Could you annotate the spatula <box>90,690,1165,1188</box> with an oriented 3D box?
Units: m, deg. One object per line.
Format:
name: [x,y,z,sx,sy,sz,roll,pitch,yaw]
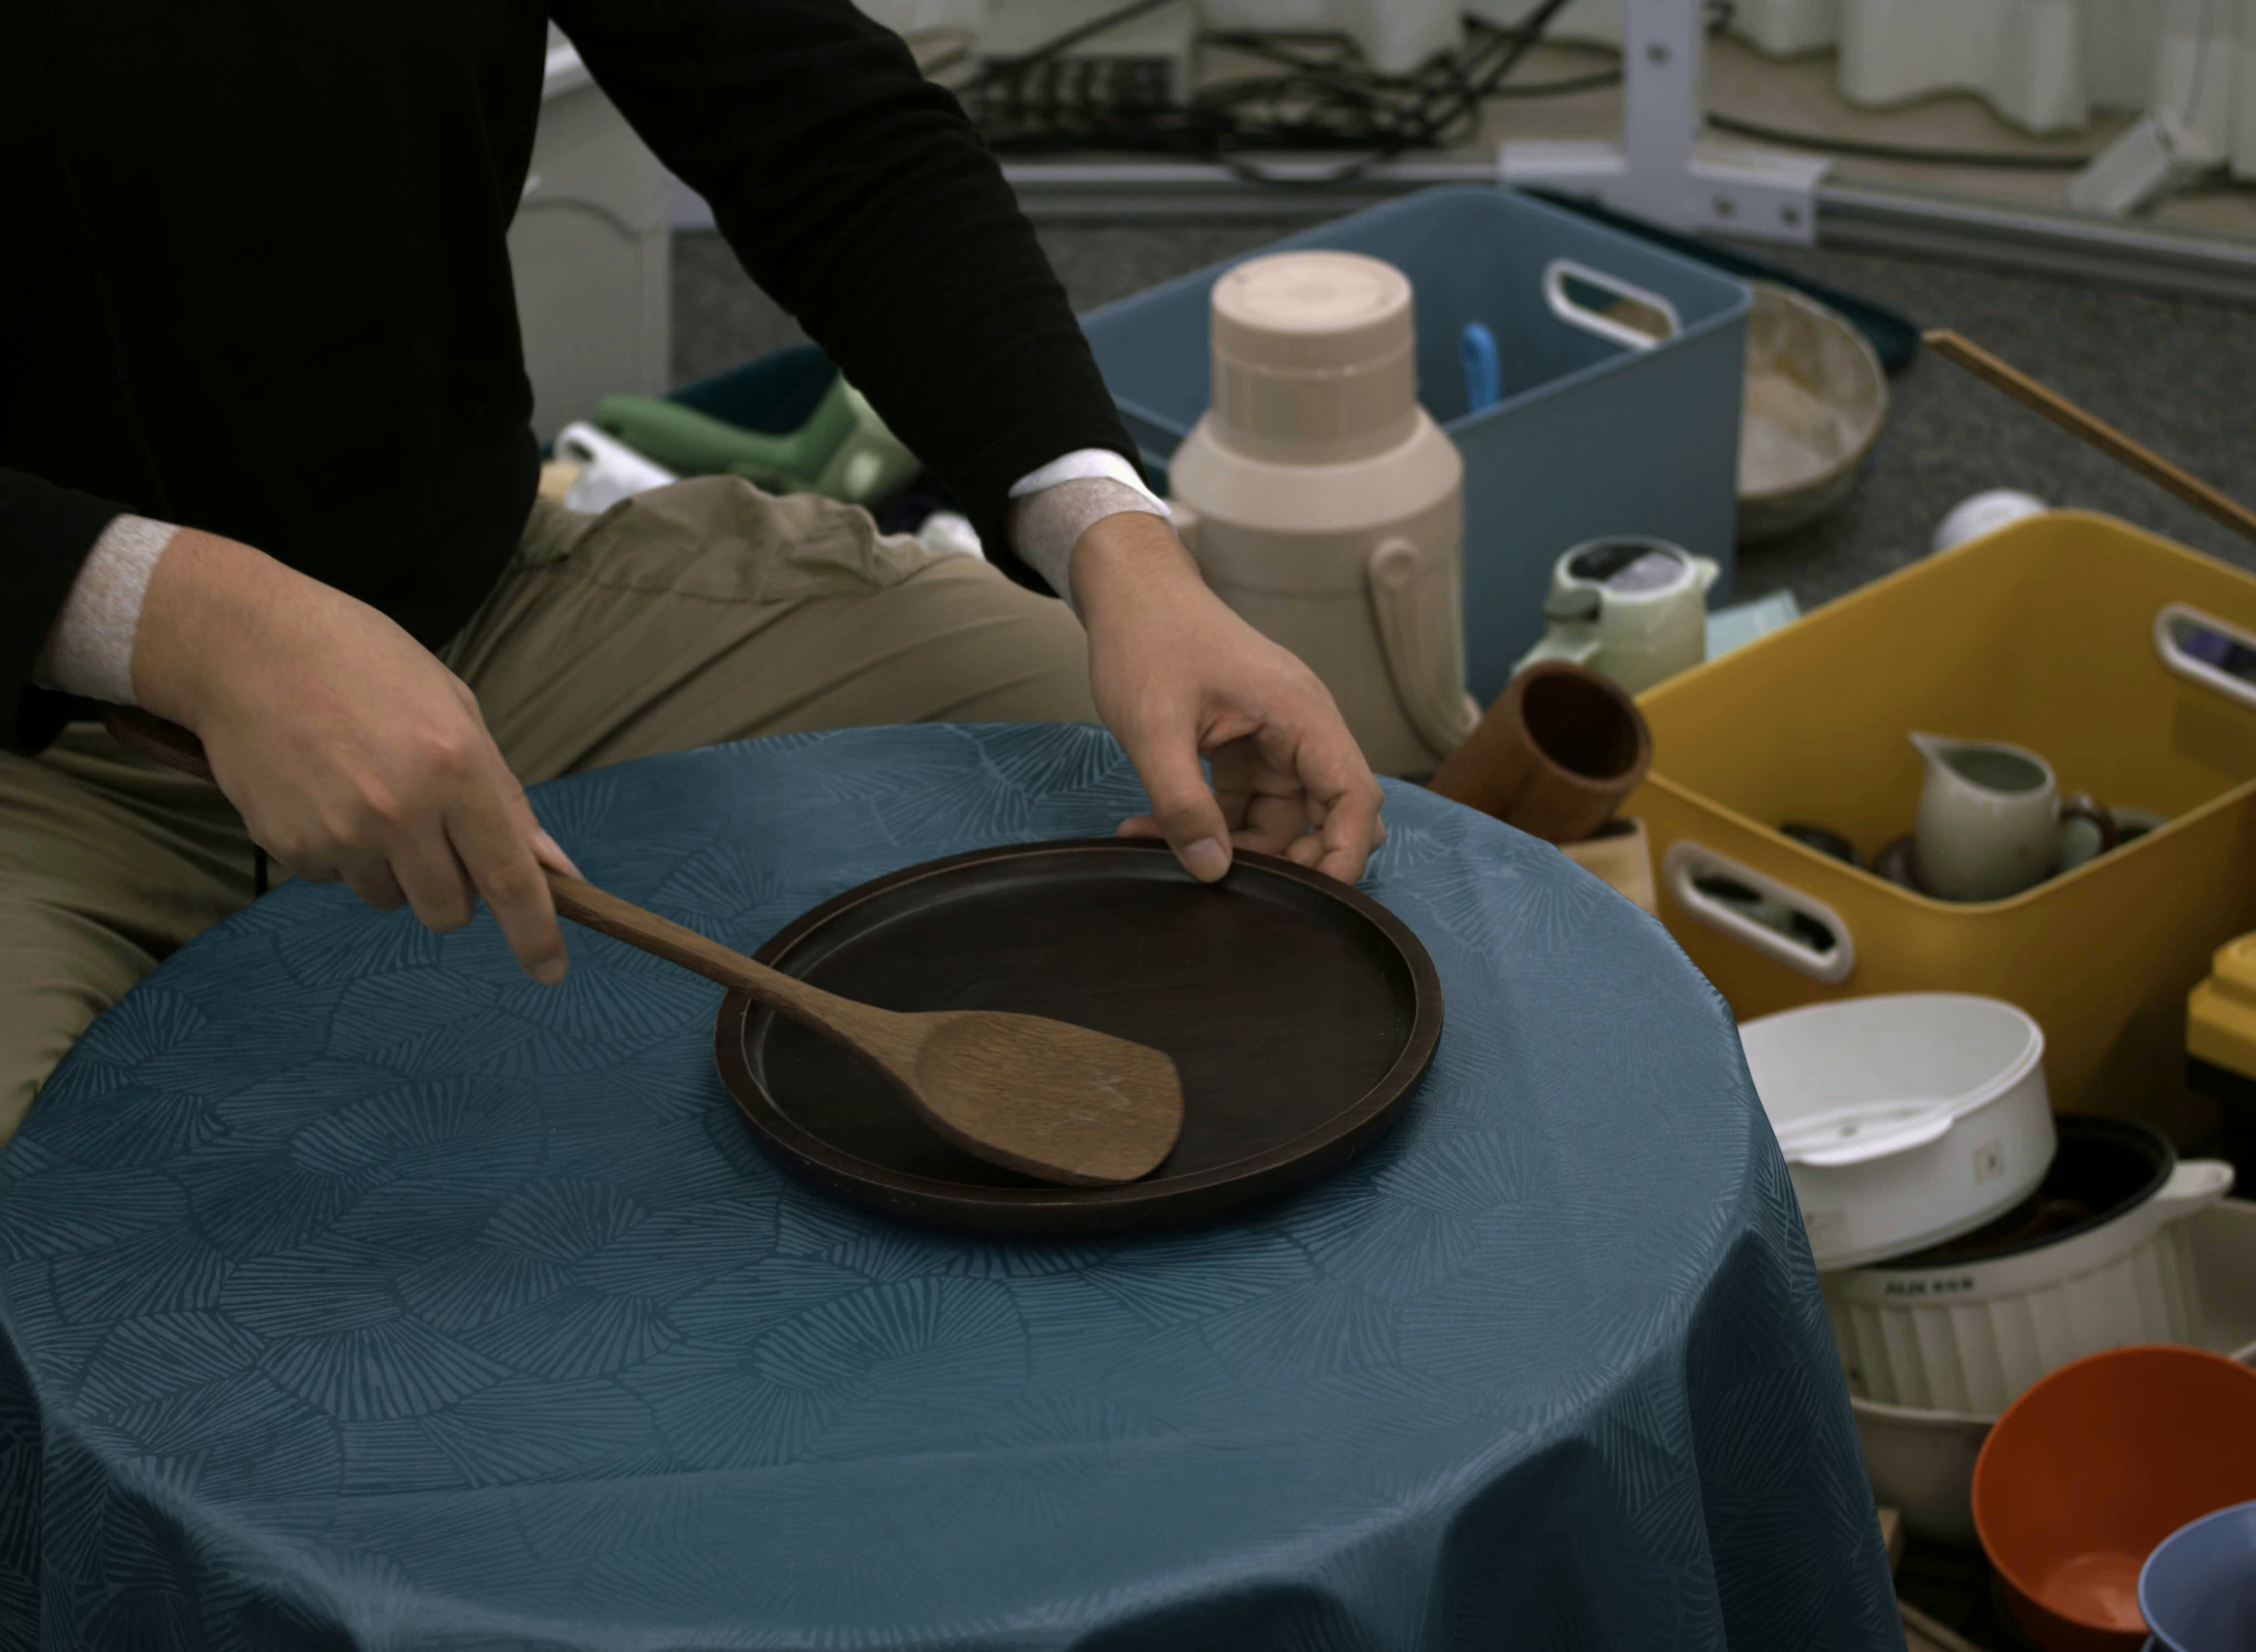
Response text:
spatula: [-0.167,0.032,1.868,0.385,0.015,0.097,23,28,1]

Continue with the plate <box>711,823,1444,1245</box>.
plate: [-0.017,0.073,1.932,0.253,0.029,0.259,-3,28,2]
